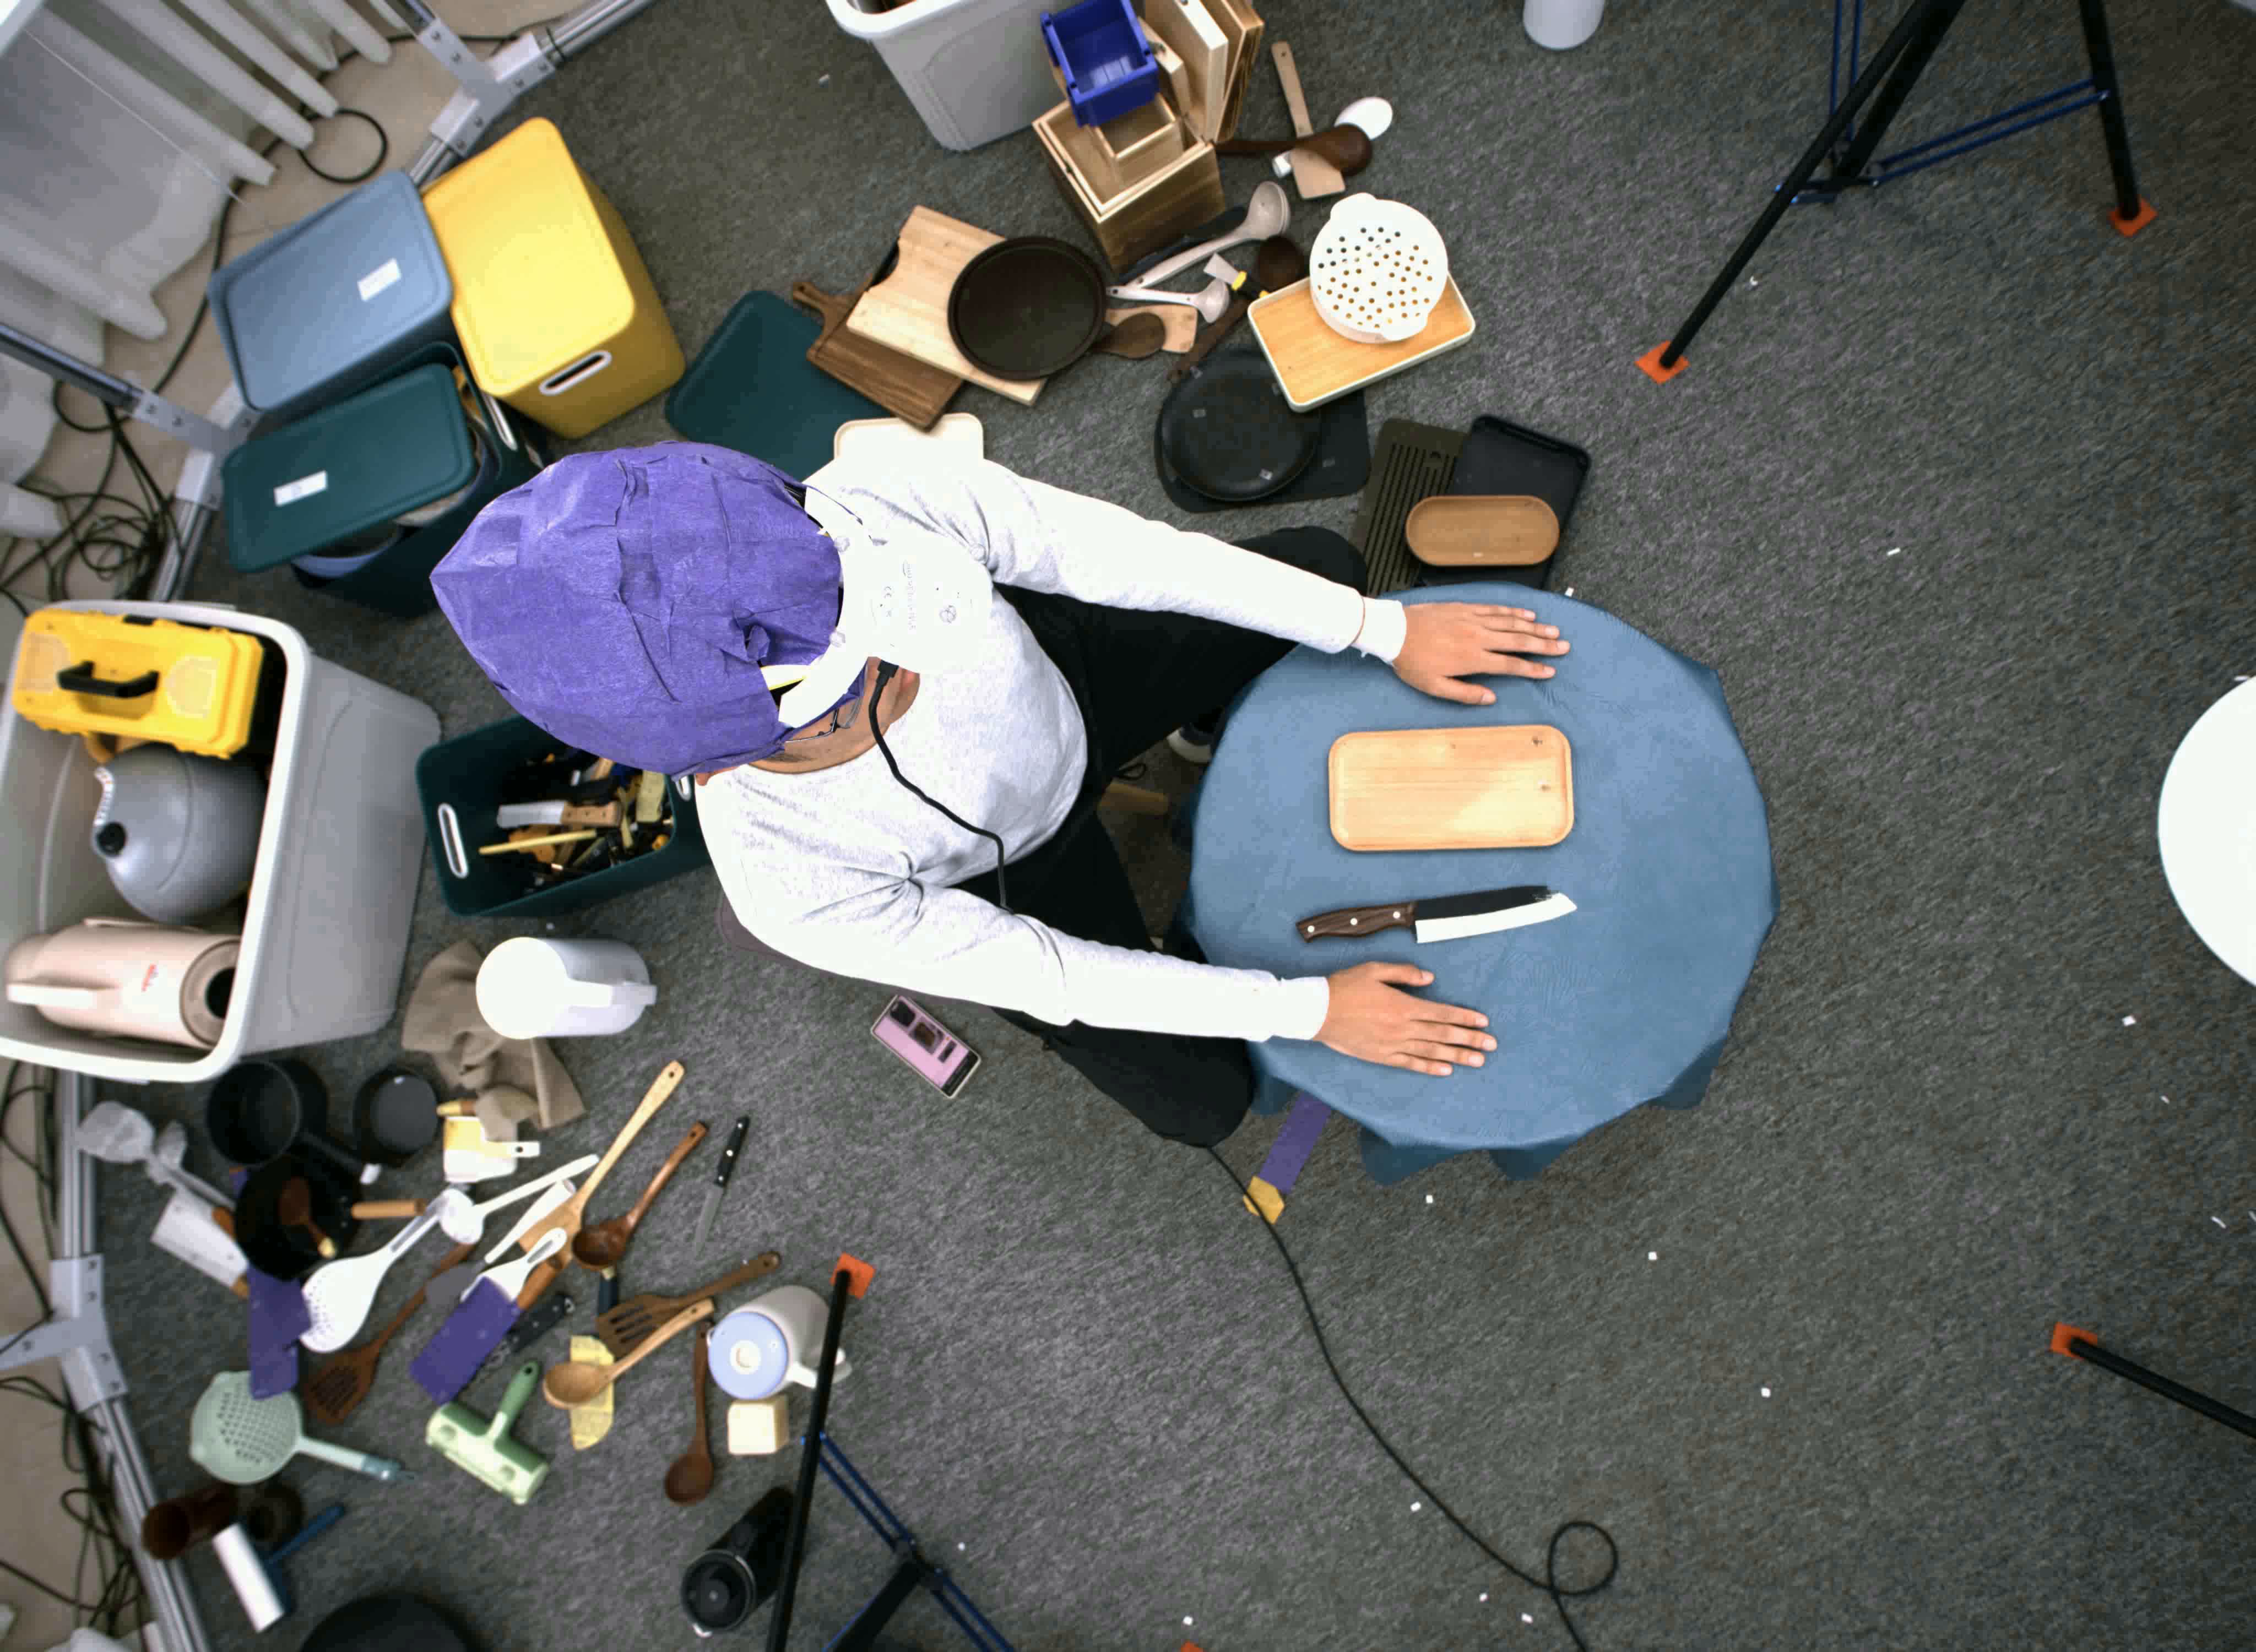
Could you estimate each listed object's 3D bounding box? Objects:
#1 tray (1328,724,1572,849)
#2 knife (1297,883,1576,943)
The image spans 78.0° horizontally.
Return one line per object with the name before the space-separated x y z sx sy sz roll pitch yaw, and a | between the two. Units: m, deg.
tray | 0.337 -0.042 1.446 0.252 0.023 0.130 -1 84 11
knife | 0.322 0.093 1.442 0.290 0.020 0.050 -7 91 8
